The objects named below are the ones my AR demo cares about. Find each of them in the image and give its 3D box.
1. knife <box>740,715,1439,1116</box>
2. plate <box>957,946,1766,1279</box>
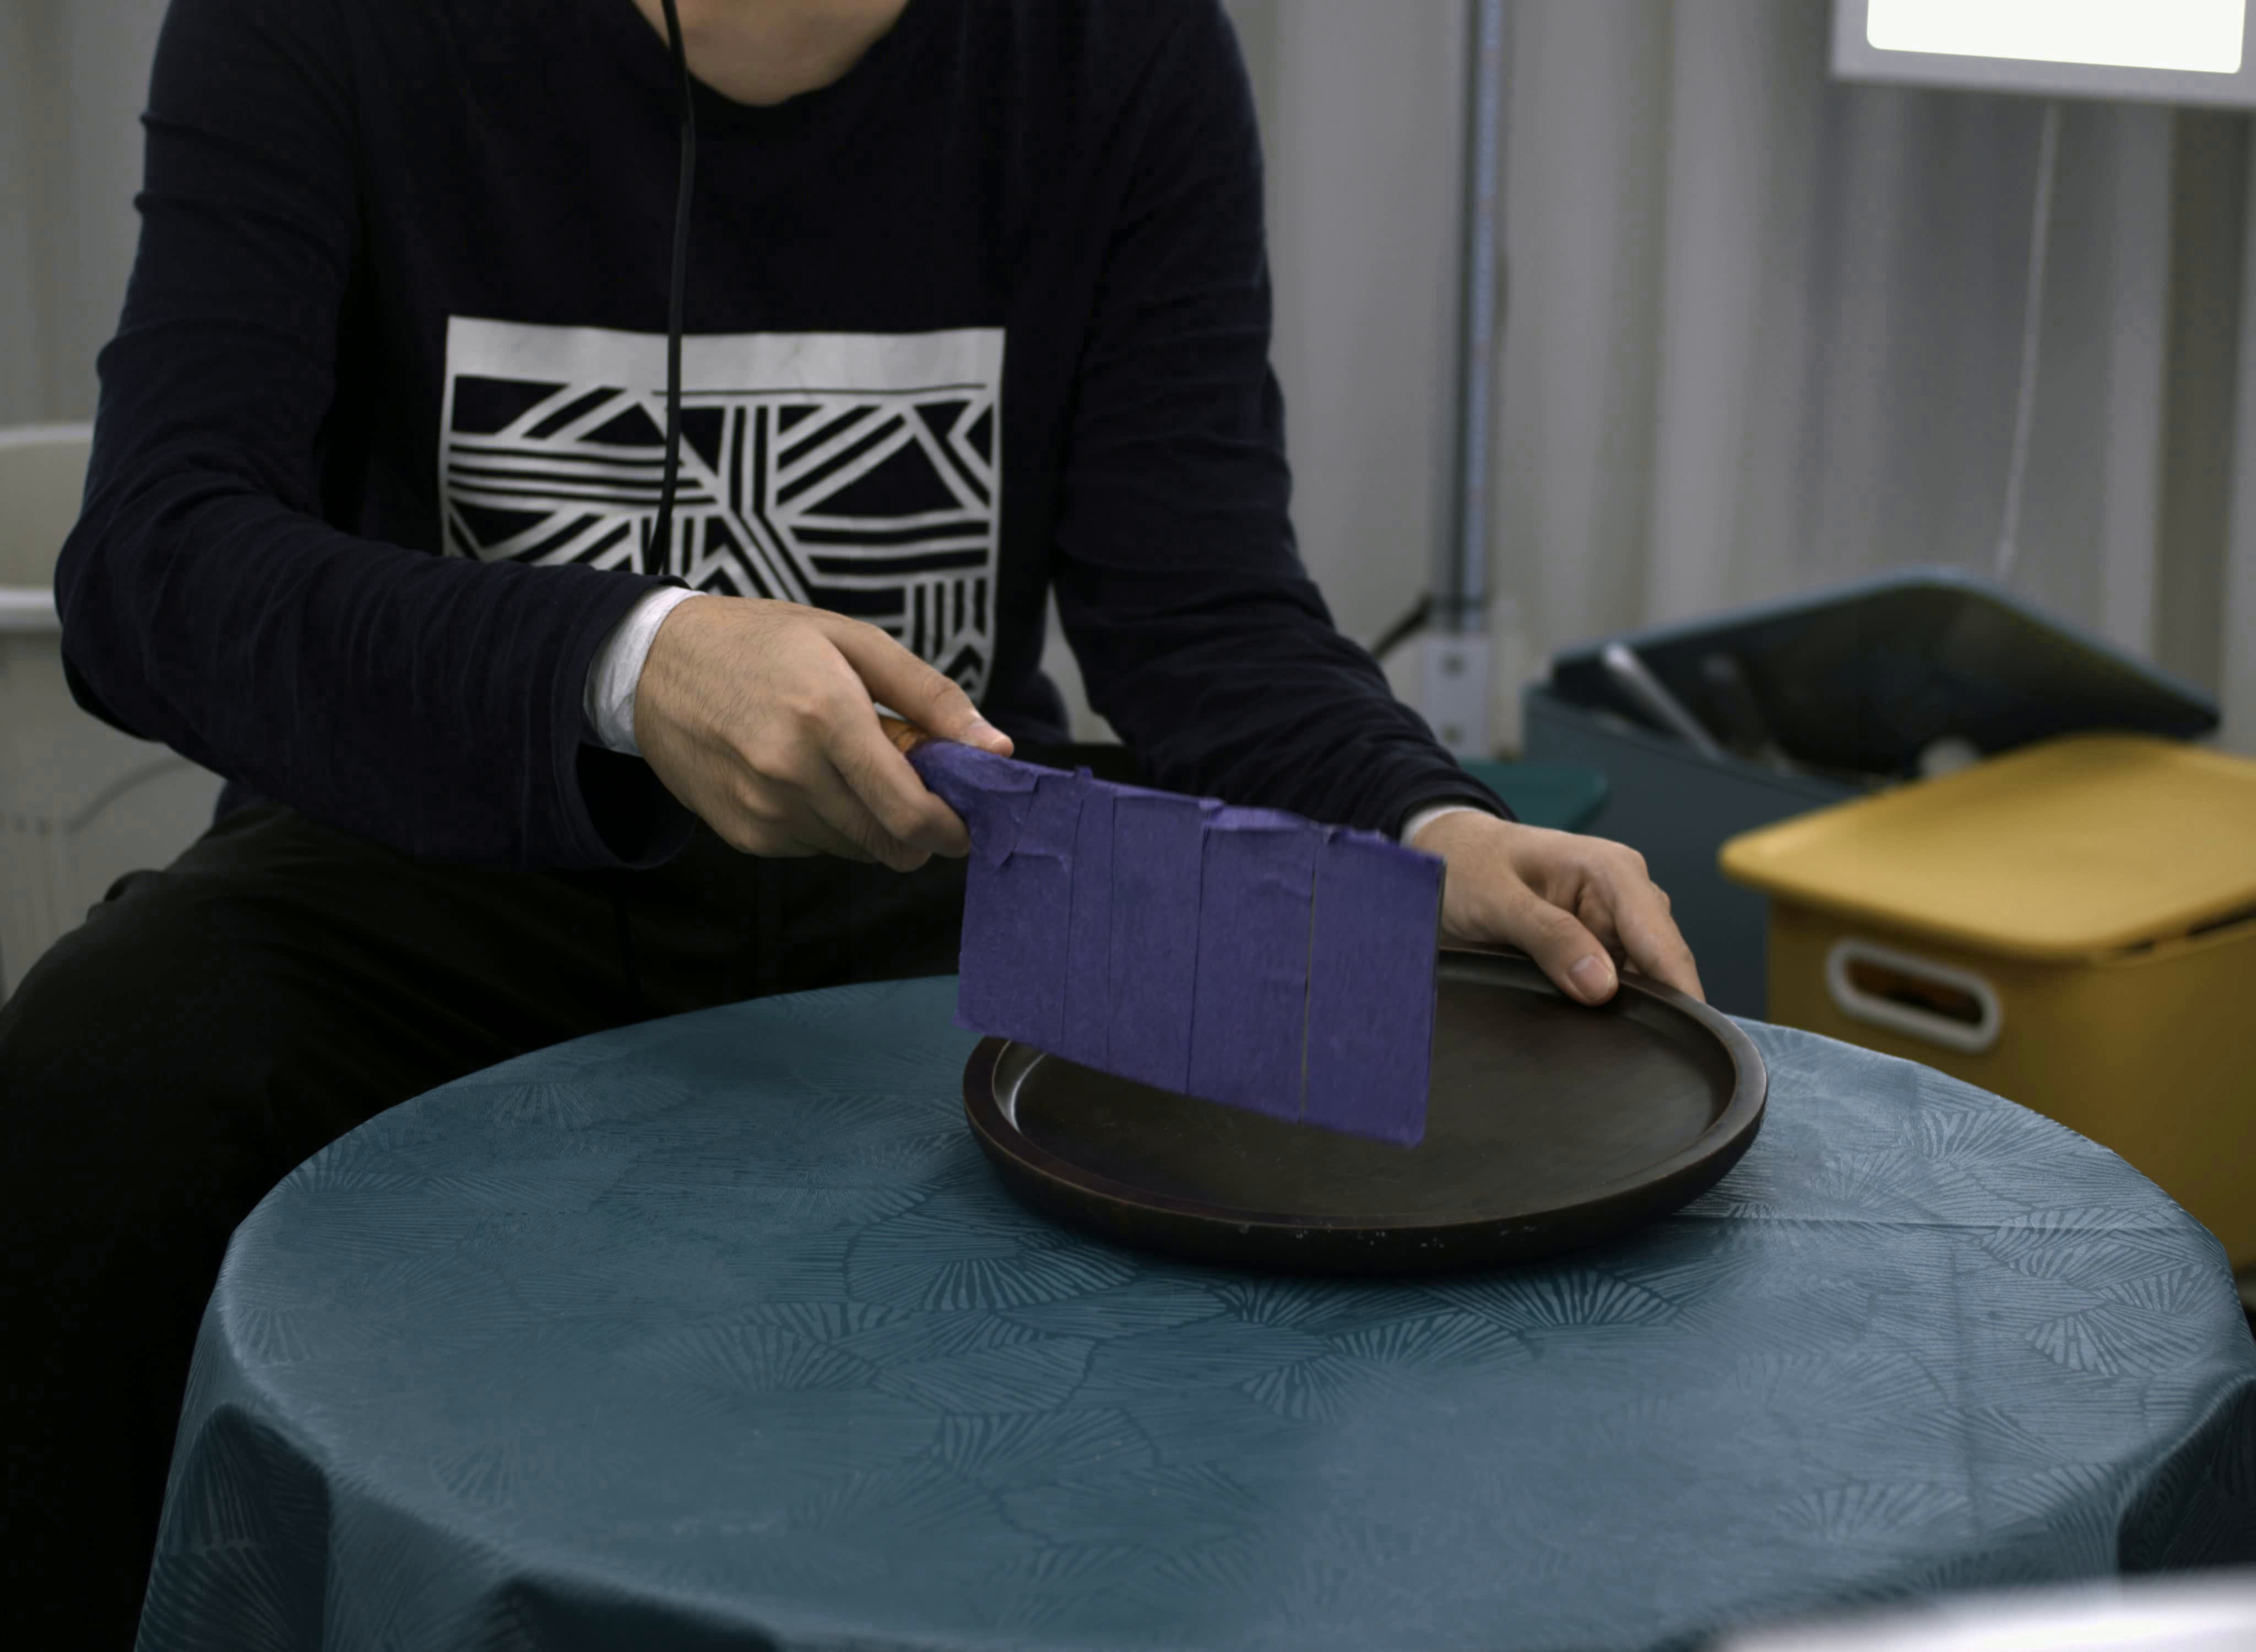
[{"bbox_3d":[-0.019,0.027,1.642,0.032,0.104,0.311,-1,9,-42],"label":"knife"},{"bbox_3d":[0.073,0.086,1.653,0.254,0.029,0.253,-1,20,1],"label":"plate"}]
